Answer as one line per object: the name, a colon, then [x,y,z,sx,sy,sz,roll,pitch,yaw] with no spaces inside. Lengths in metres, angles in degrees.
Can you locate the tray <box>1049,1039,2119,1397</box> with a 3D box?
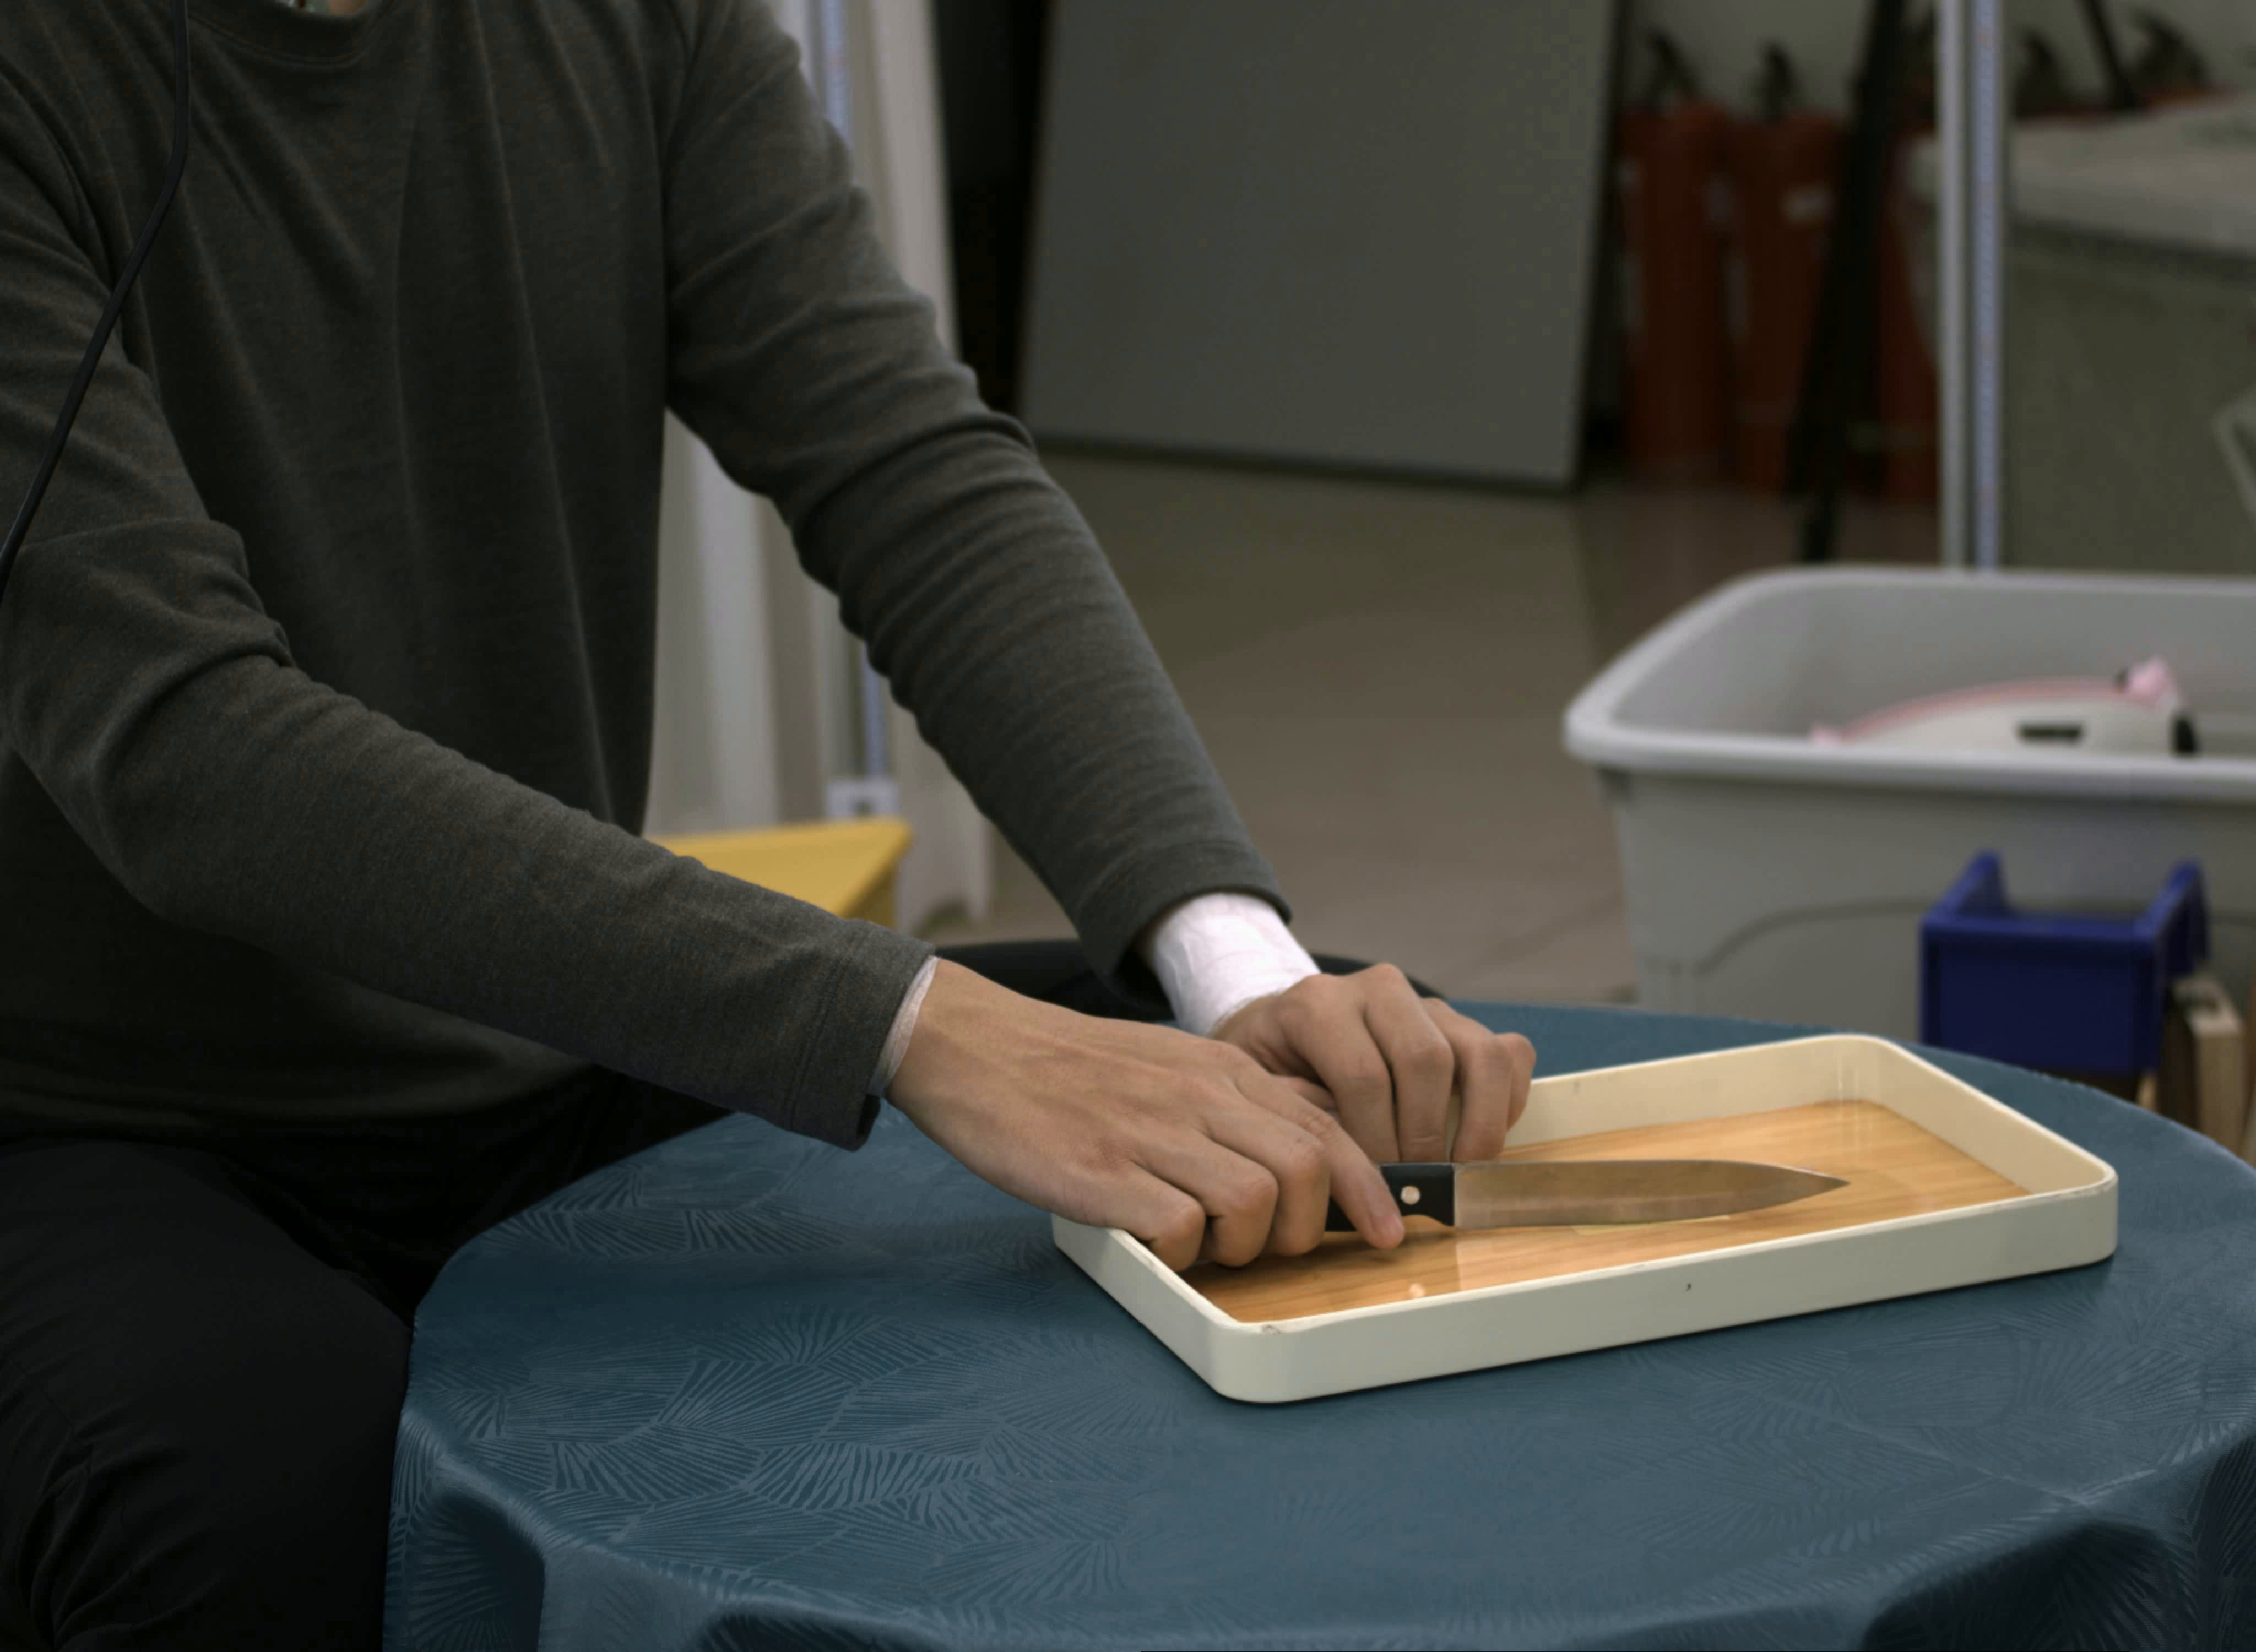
tray: [0.140,0.120,1.684,0.294,0.028,0.193,-8,13,-16]

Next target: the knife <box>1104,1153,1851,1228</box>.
knife: [0.109,0.114,1.683,0.235,0.025,0.016,-1,16,2]
